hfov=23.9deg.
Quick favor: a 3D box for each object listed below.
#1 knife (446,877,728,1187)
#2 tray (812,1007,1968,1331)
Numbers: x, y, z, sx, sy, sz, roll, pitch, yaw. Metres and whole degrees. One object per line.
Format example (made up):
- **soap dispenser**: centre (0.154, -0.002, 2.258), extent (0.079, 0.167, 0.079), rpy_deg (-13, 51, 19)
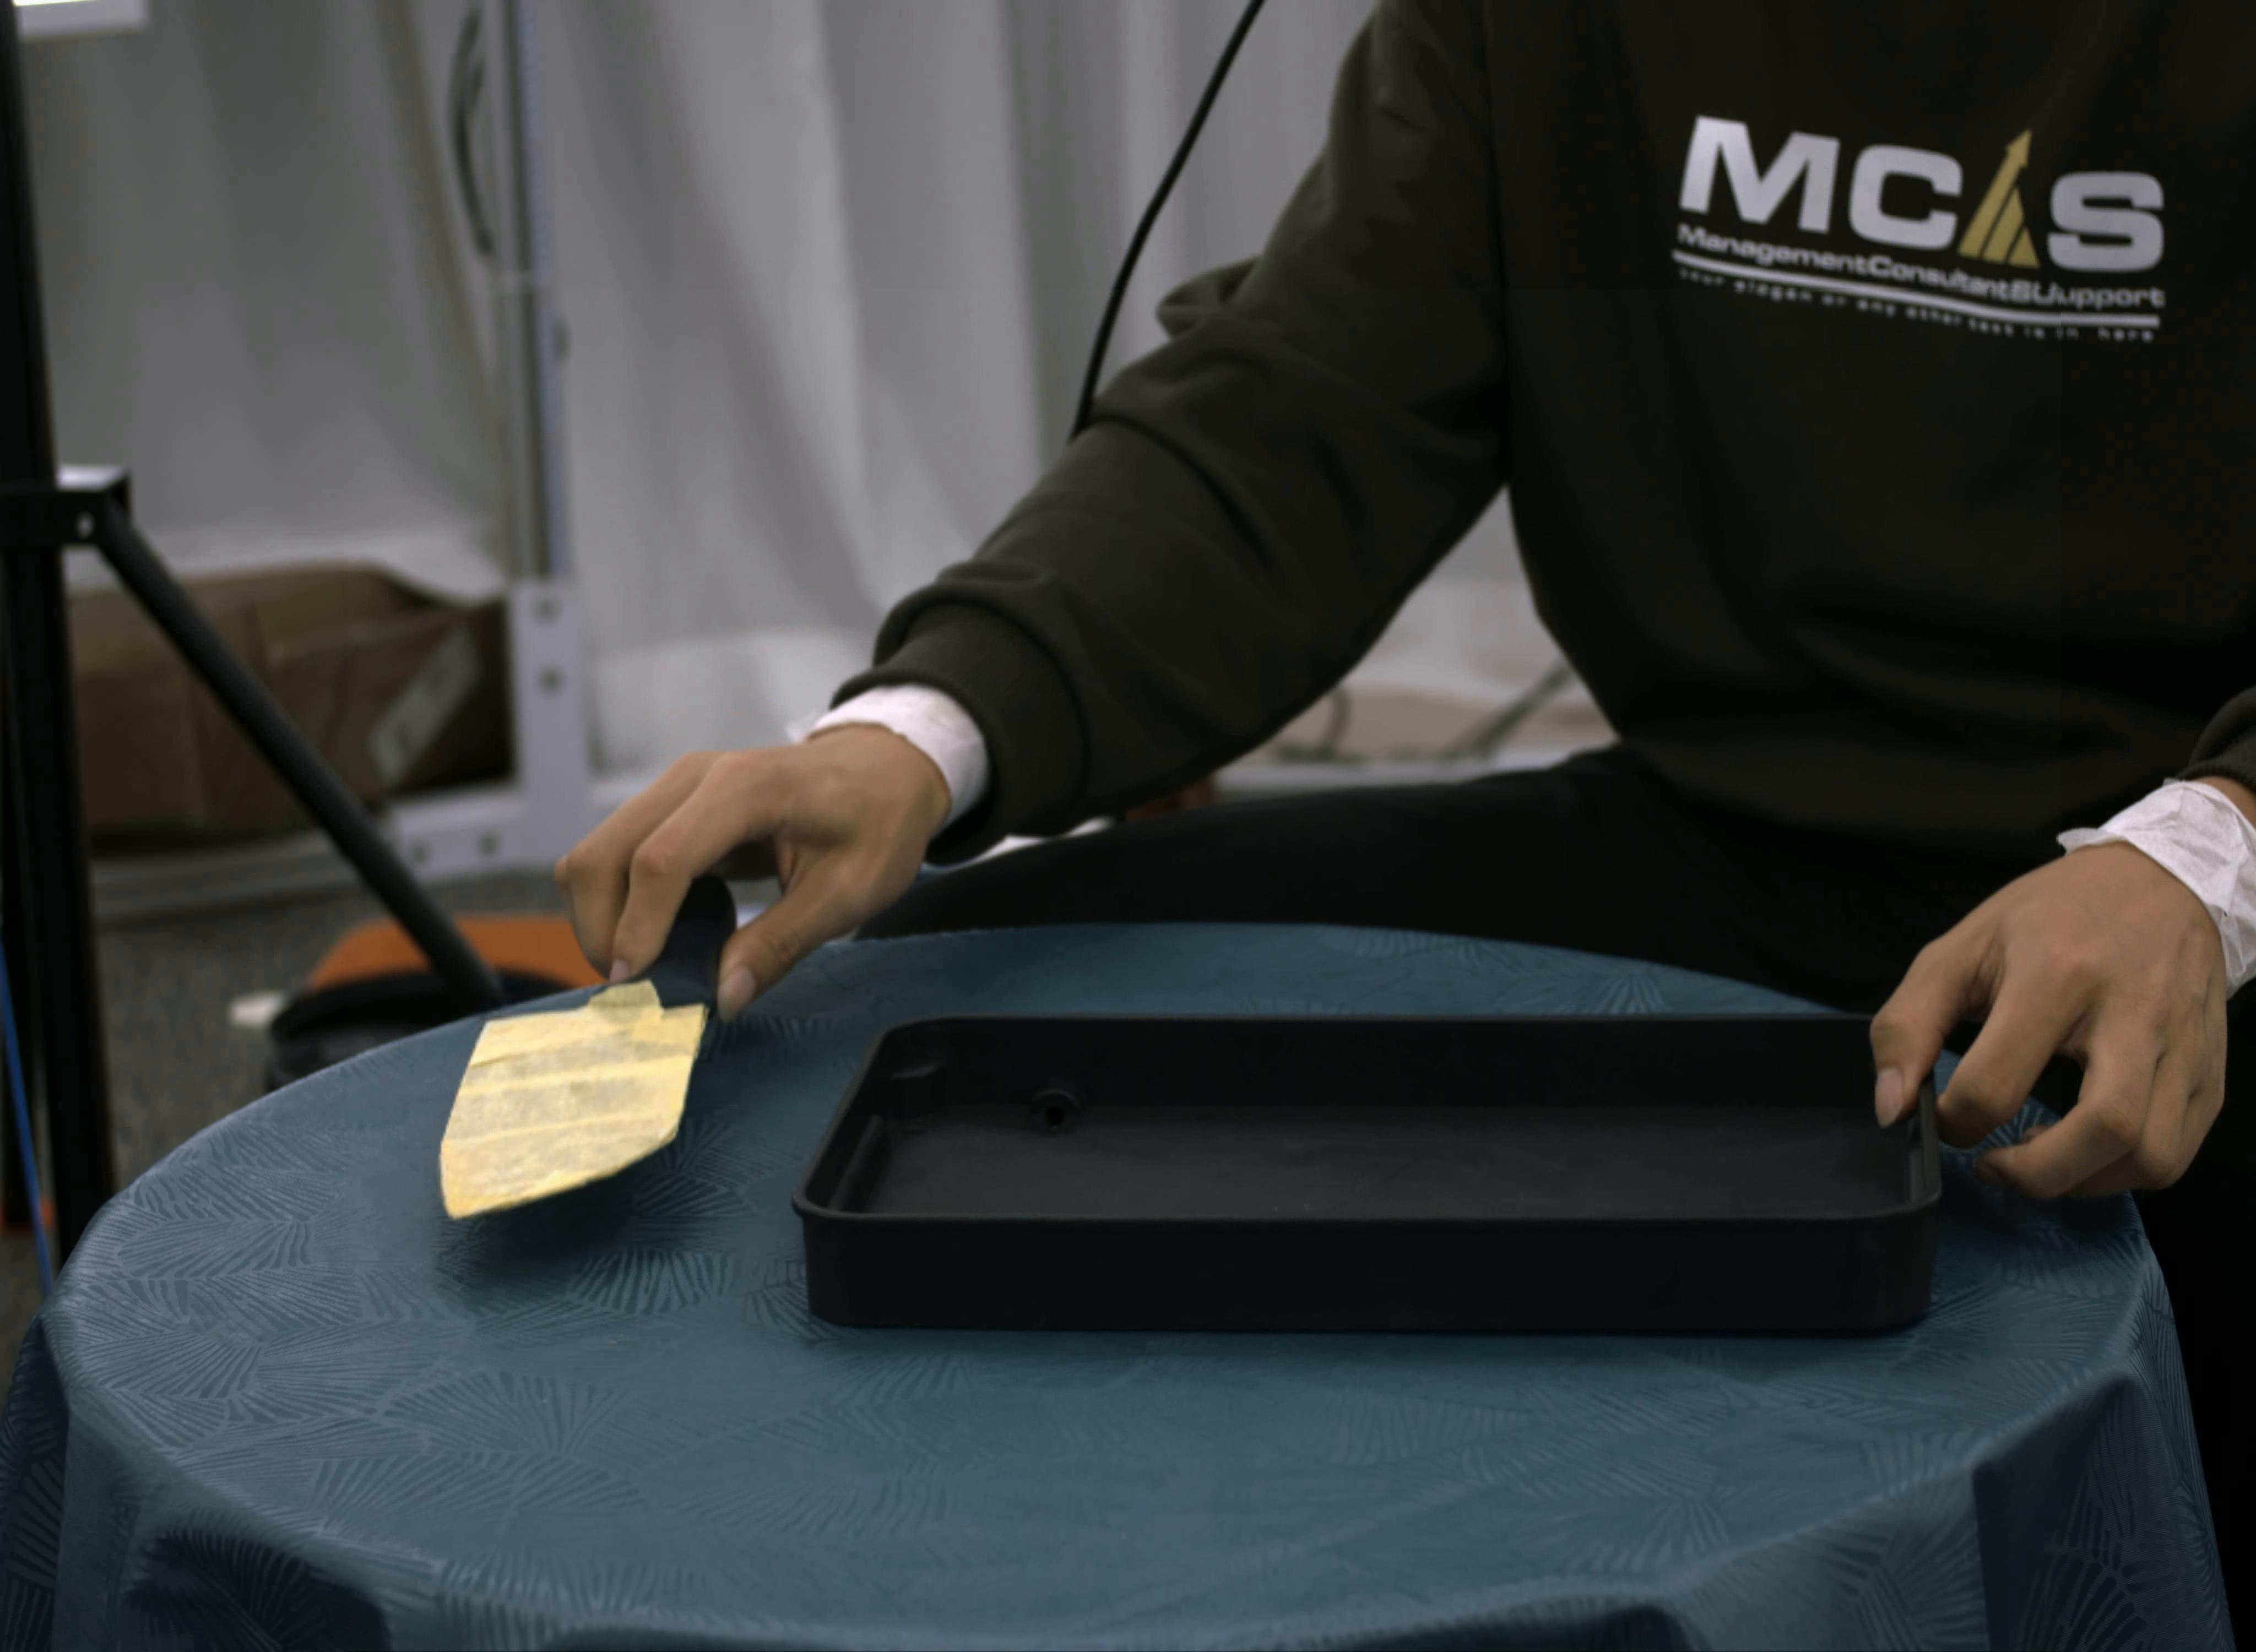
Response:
- **knife**: centre (-0.163, 0.064, 1.643), extent (0.081, 0.027, 0.289), rpy_deg (-6, 15, 5)
- **tray**: centre (0.077, 0.097, 1.519), extent (0.318, 0.037, 0.184), rpy_deg (-1, 15, 8)
